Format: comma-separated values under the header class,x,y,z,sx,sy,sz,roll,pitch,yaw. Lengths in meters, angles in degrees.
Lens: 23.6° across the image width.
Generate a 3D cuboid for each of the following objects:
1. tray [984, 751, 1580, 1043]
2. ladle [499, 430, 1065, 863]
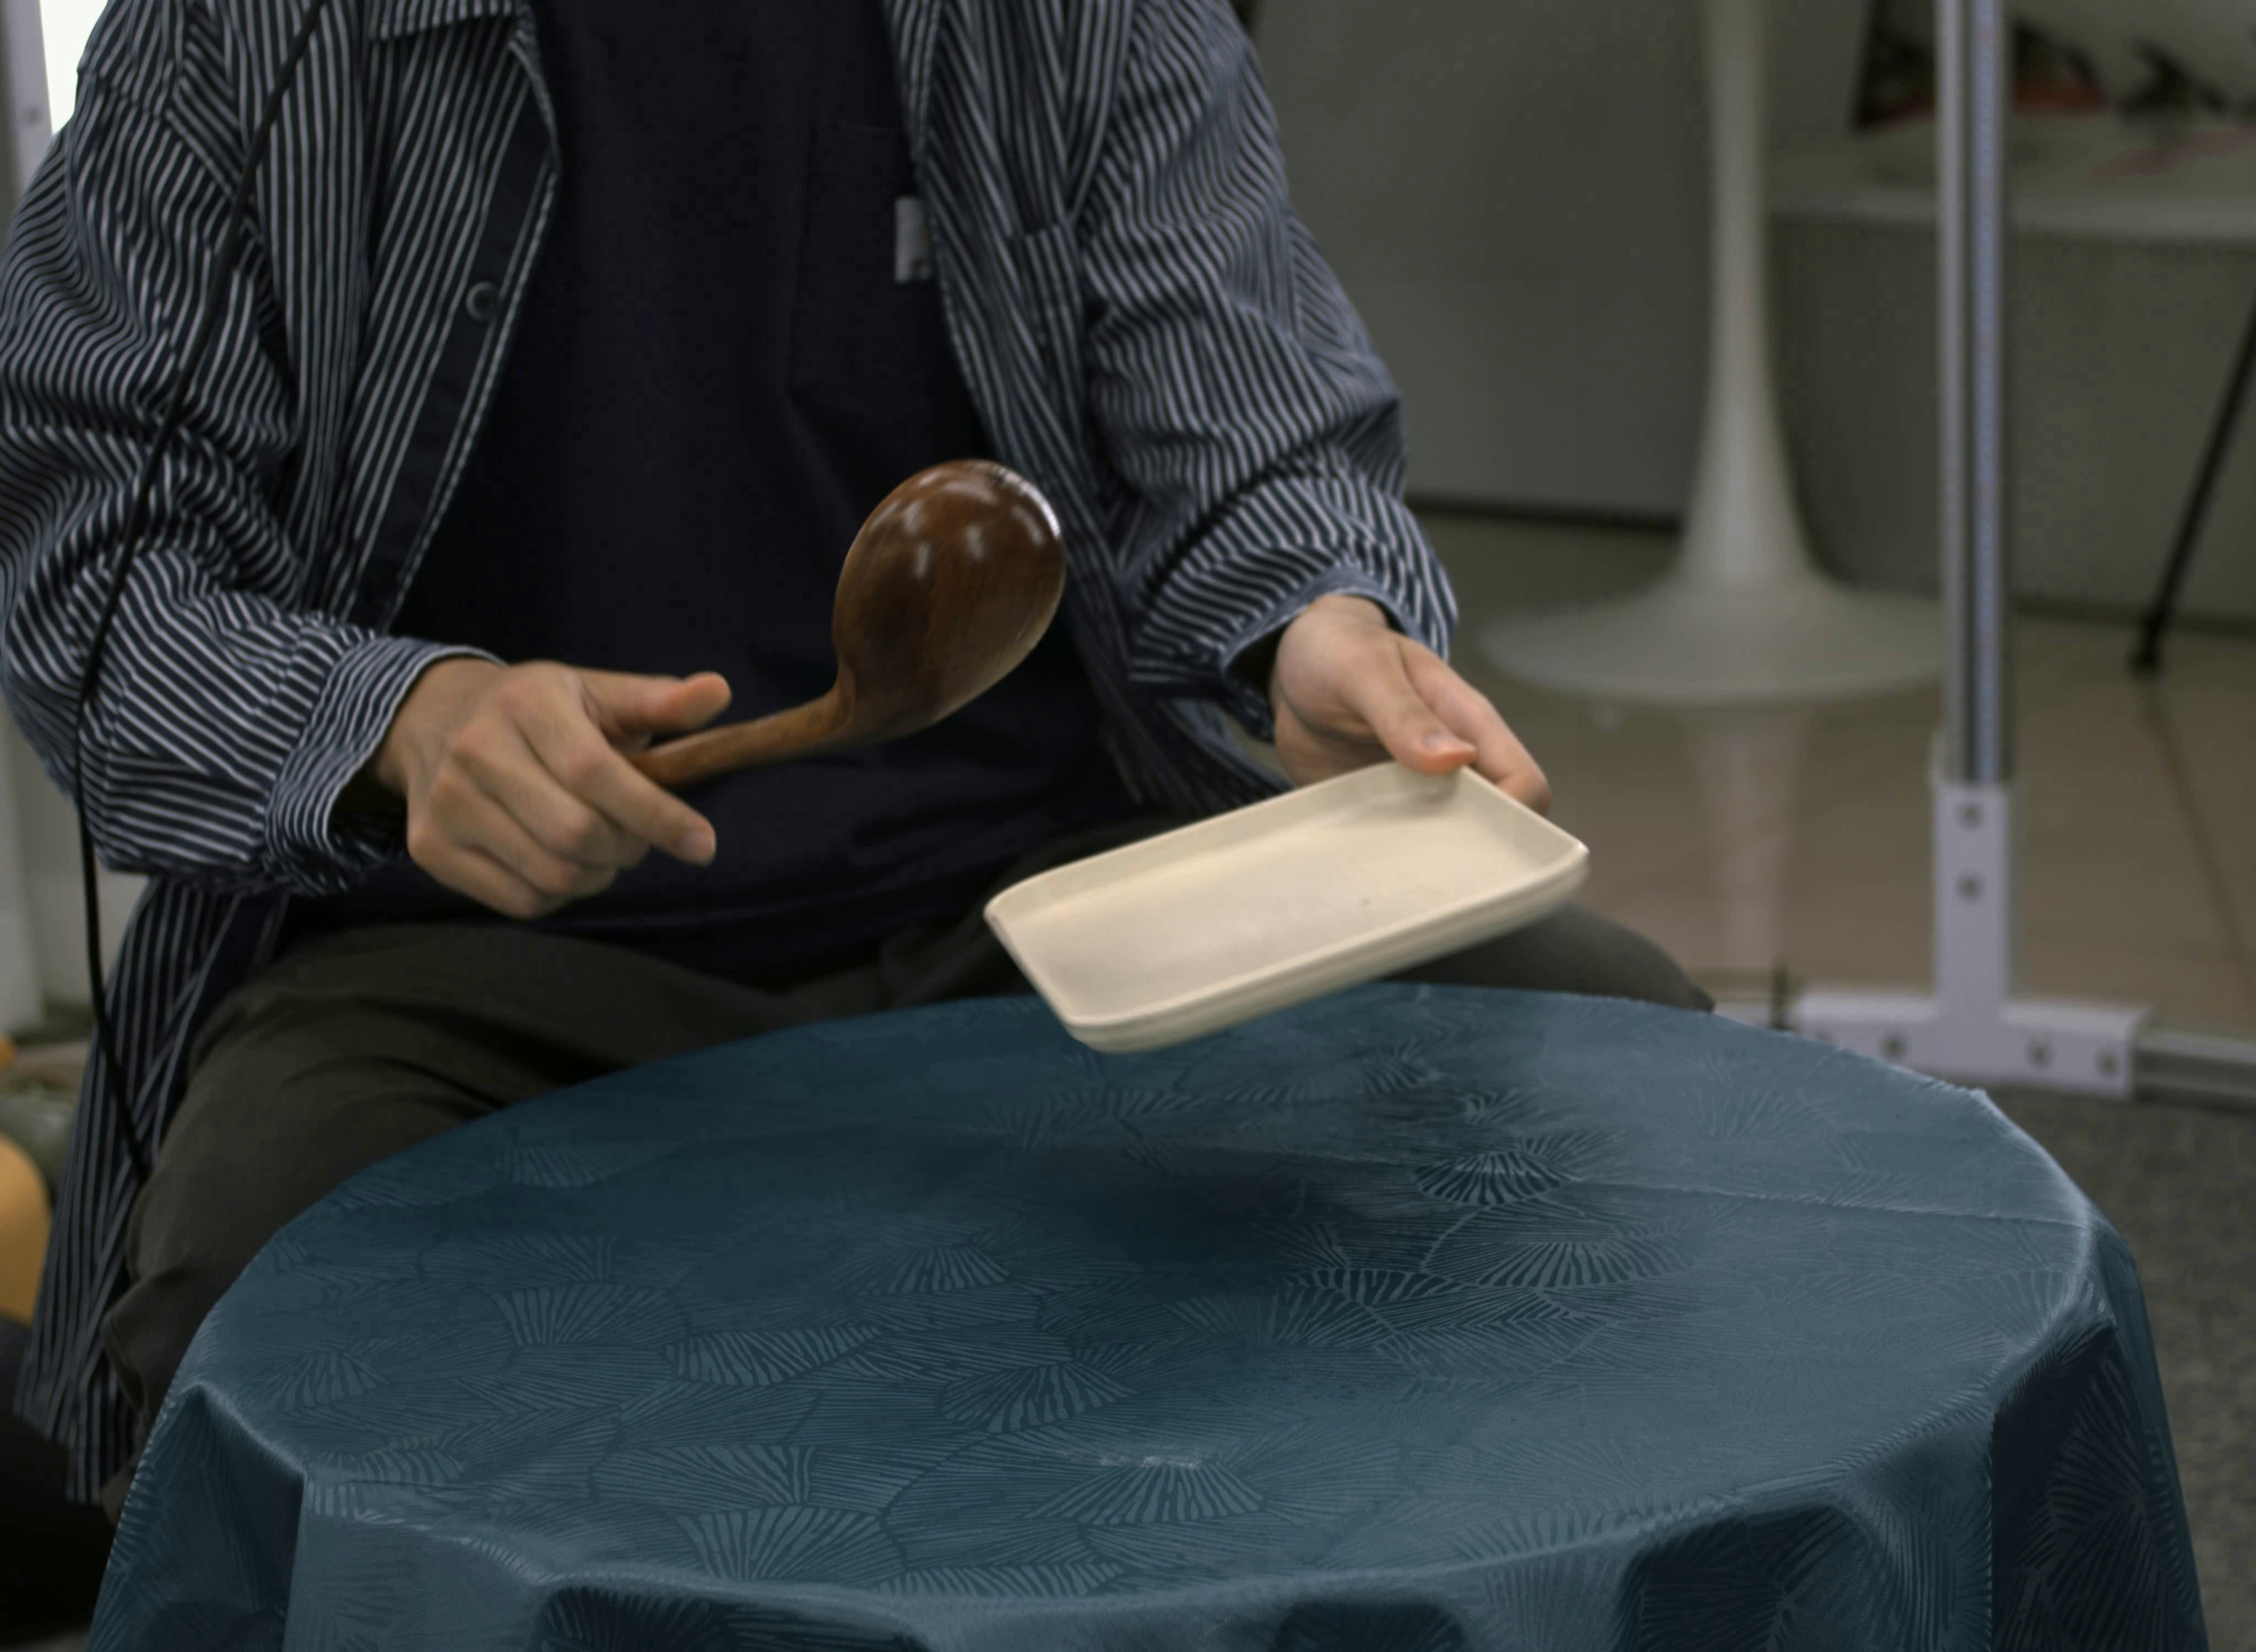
class,x,y,z,sx,sy,sz,roll,pitch,yaw
tray,0.046,0.022,1.720,0.169,0.017,0.240,-19,10,-5
ladle,-0.122,-0.056,1.736,0.080,0.077,0.276,12,-20,-38
